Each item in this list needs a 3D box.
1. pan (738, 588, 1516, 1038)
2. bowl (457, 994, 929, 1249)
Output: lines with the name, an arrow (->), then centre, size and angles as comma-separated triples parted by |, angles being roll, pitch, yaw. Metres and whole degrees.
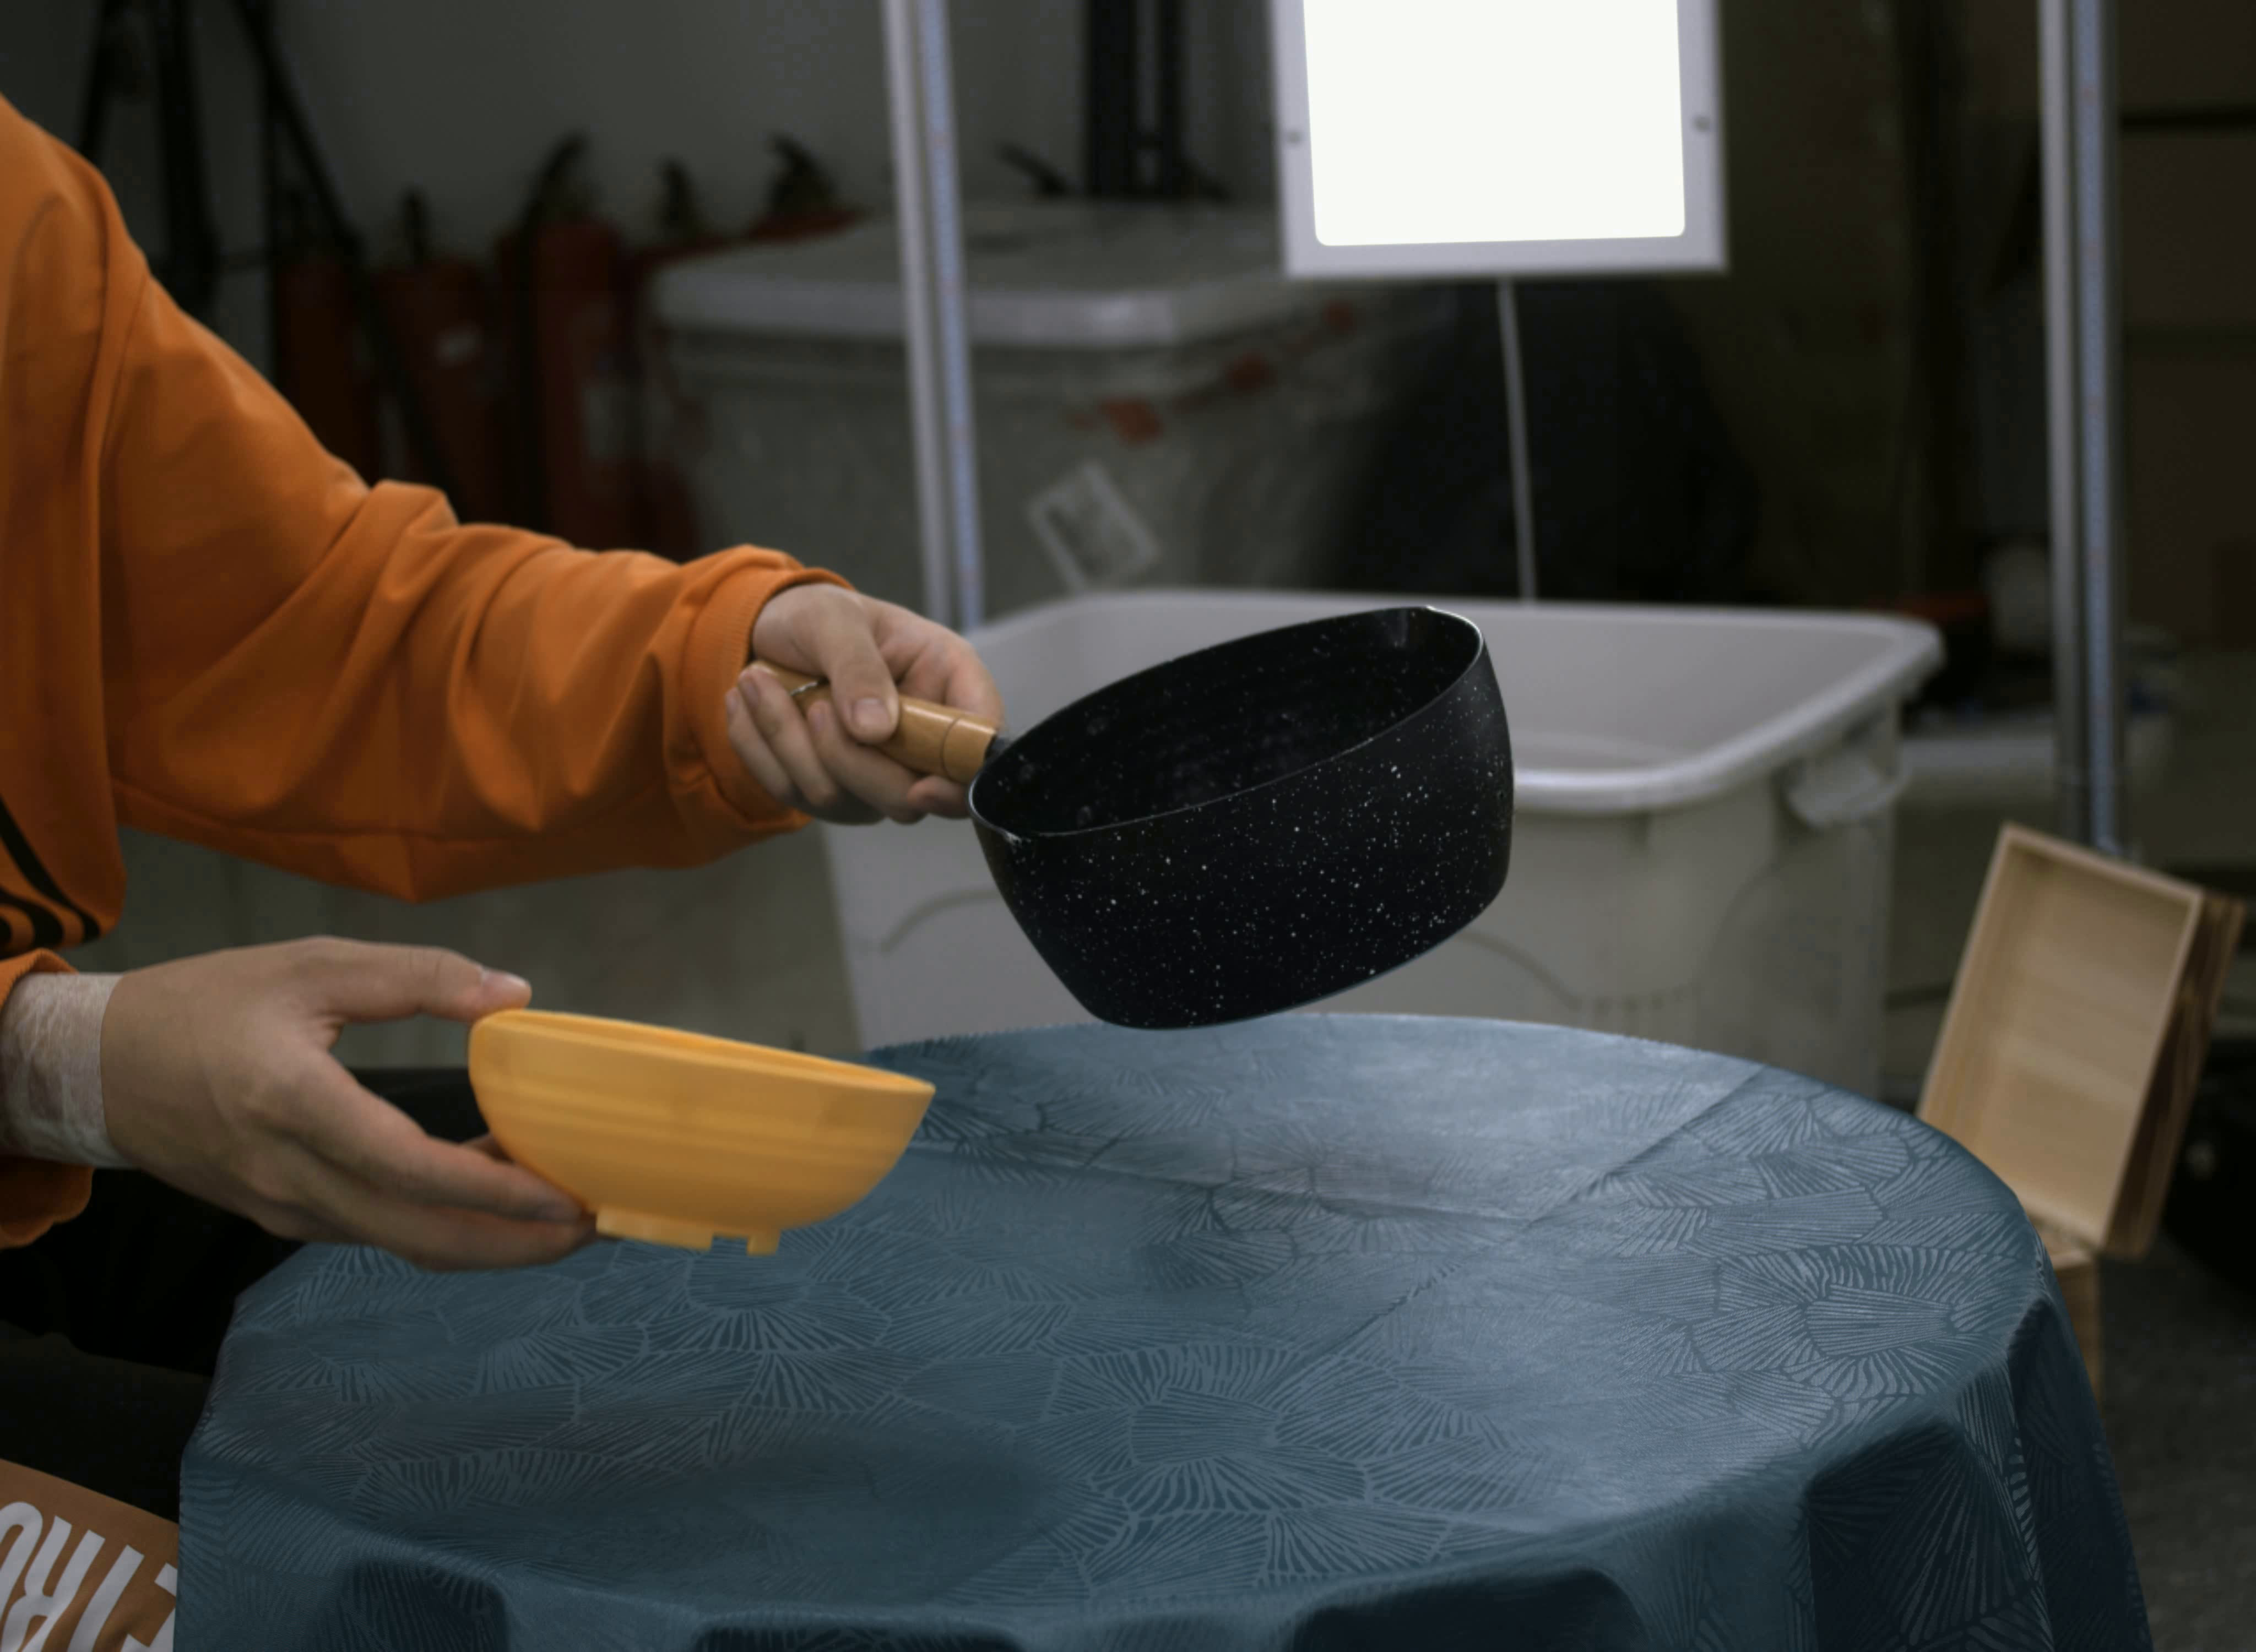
pan -> -0.012, -0.010, 1.919 | 0.350, 0.108, 0.203 | 1, 28, 48
bowl -> -0.135, 0.092, 1.655 | 0.145, 0.060, 0.145 | 10, -2, -1
